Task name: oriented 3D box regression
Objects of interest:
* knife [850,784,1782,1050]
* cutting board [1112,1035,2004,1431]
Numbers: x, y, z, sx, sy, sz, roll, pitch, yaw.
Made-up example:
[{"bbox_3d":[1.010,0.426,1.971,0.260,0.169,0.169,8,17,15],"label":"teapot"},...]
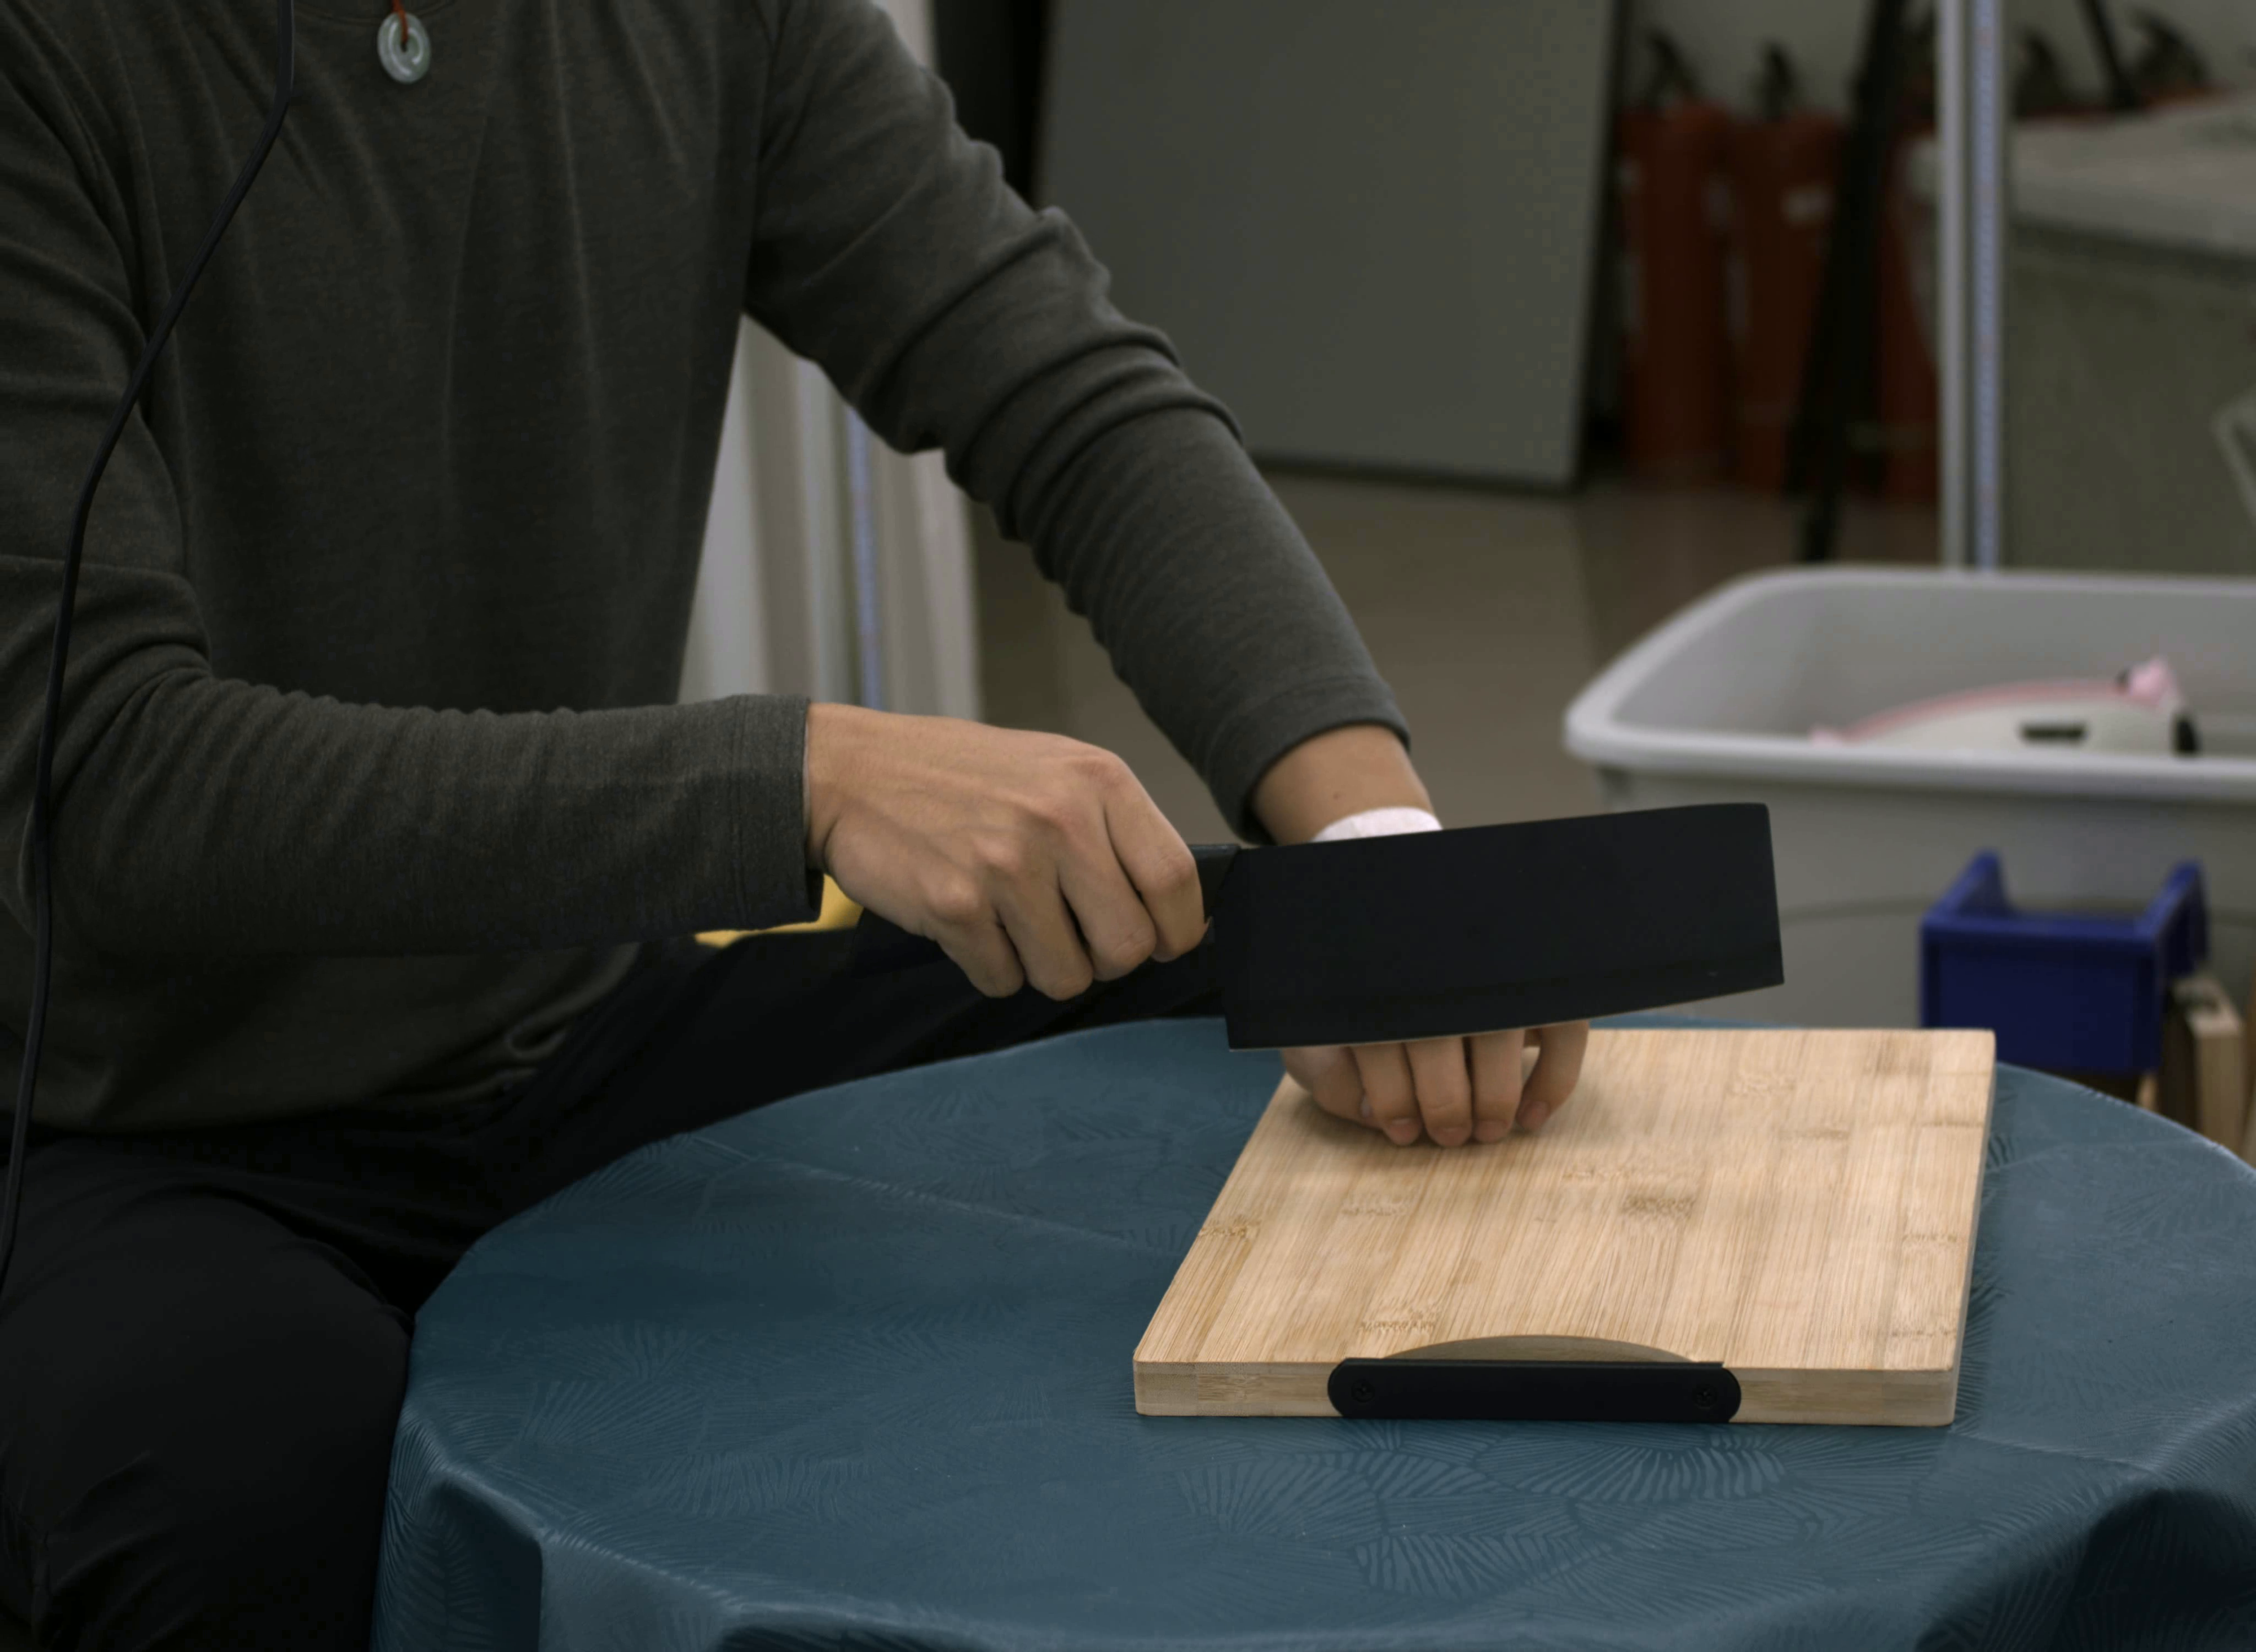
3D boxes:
[{"bbox_3d":[0.058,0.032,1.715,0.300,0.082,0.021,-2,4,11],"label":"knife"},{"bbox_3d":[0.147,0.122,1.691,0.249,0.024,0.347,-2,14,12],"label":"cutting board"}]
